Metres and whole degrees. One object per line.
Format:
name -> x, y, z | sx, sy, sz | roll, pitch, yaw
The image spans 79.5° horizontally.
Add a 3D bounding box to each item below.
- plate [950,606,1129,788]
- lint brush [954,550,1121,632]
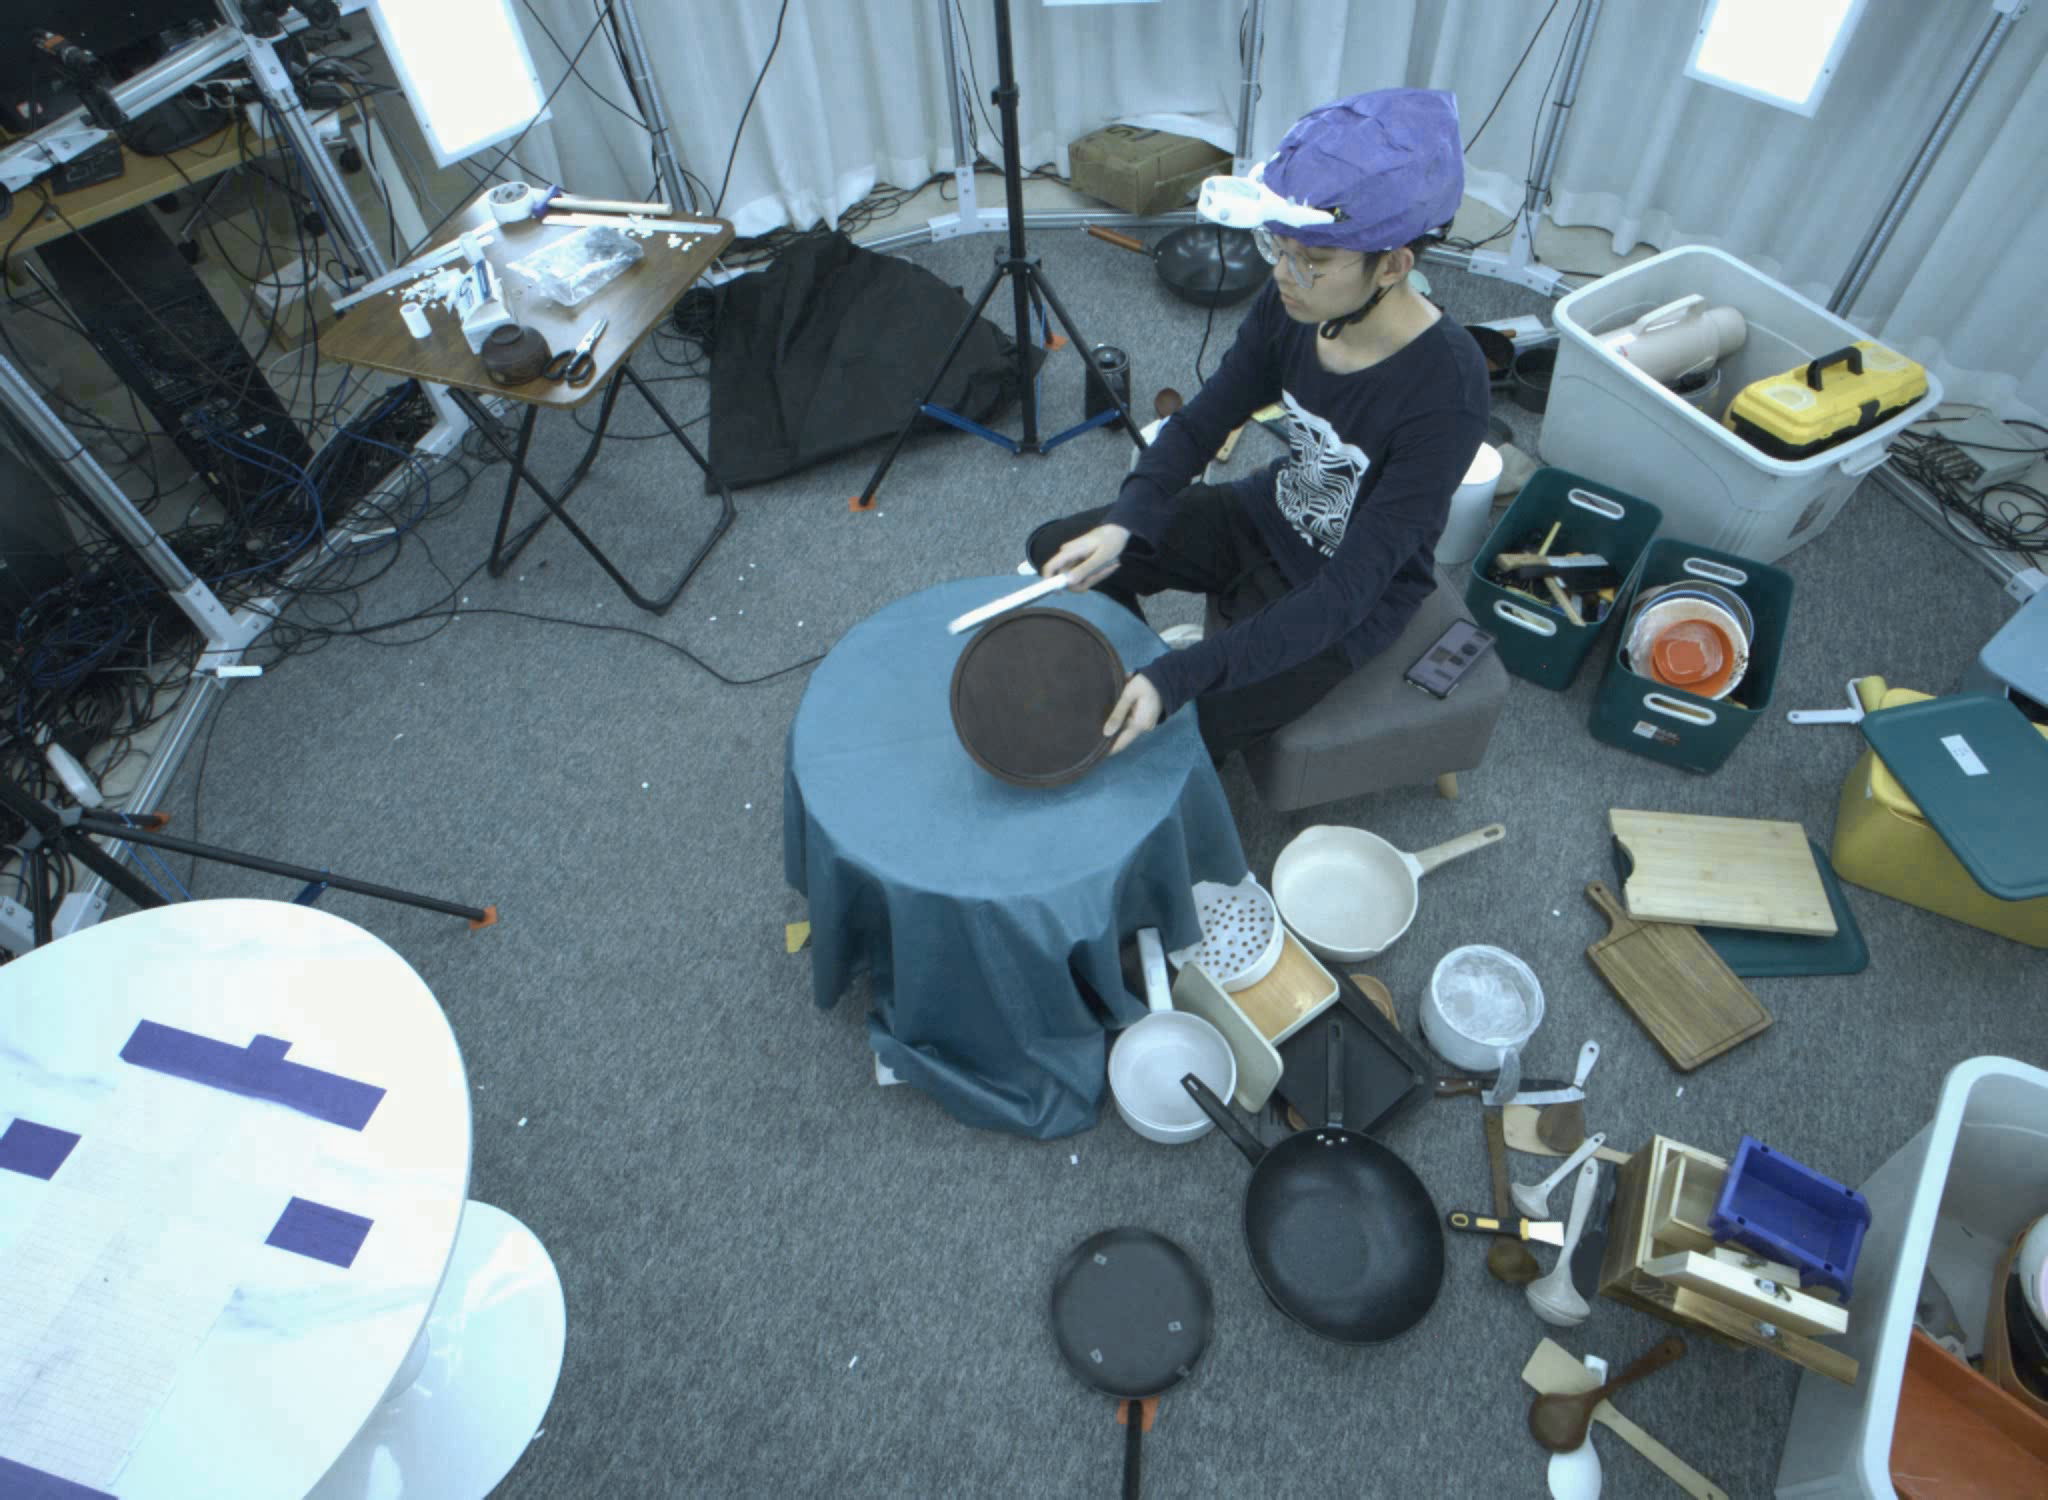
plate -> 0.022, -0.073, 1.714 | 0.256, 0.256, 0.028 | -18, 13, -10
lint brush -> 0.025, -0.229, 1.733 | 0.313, 0.059, 0.021 | -28, 87, -34
